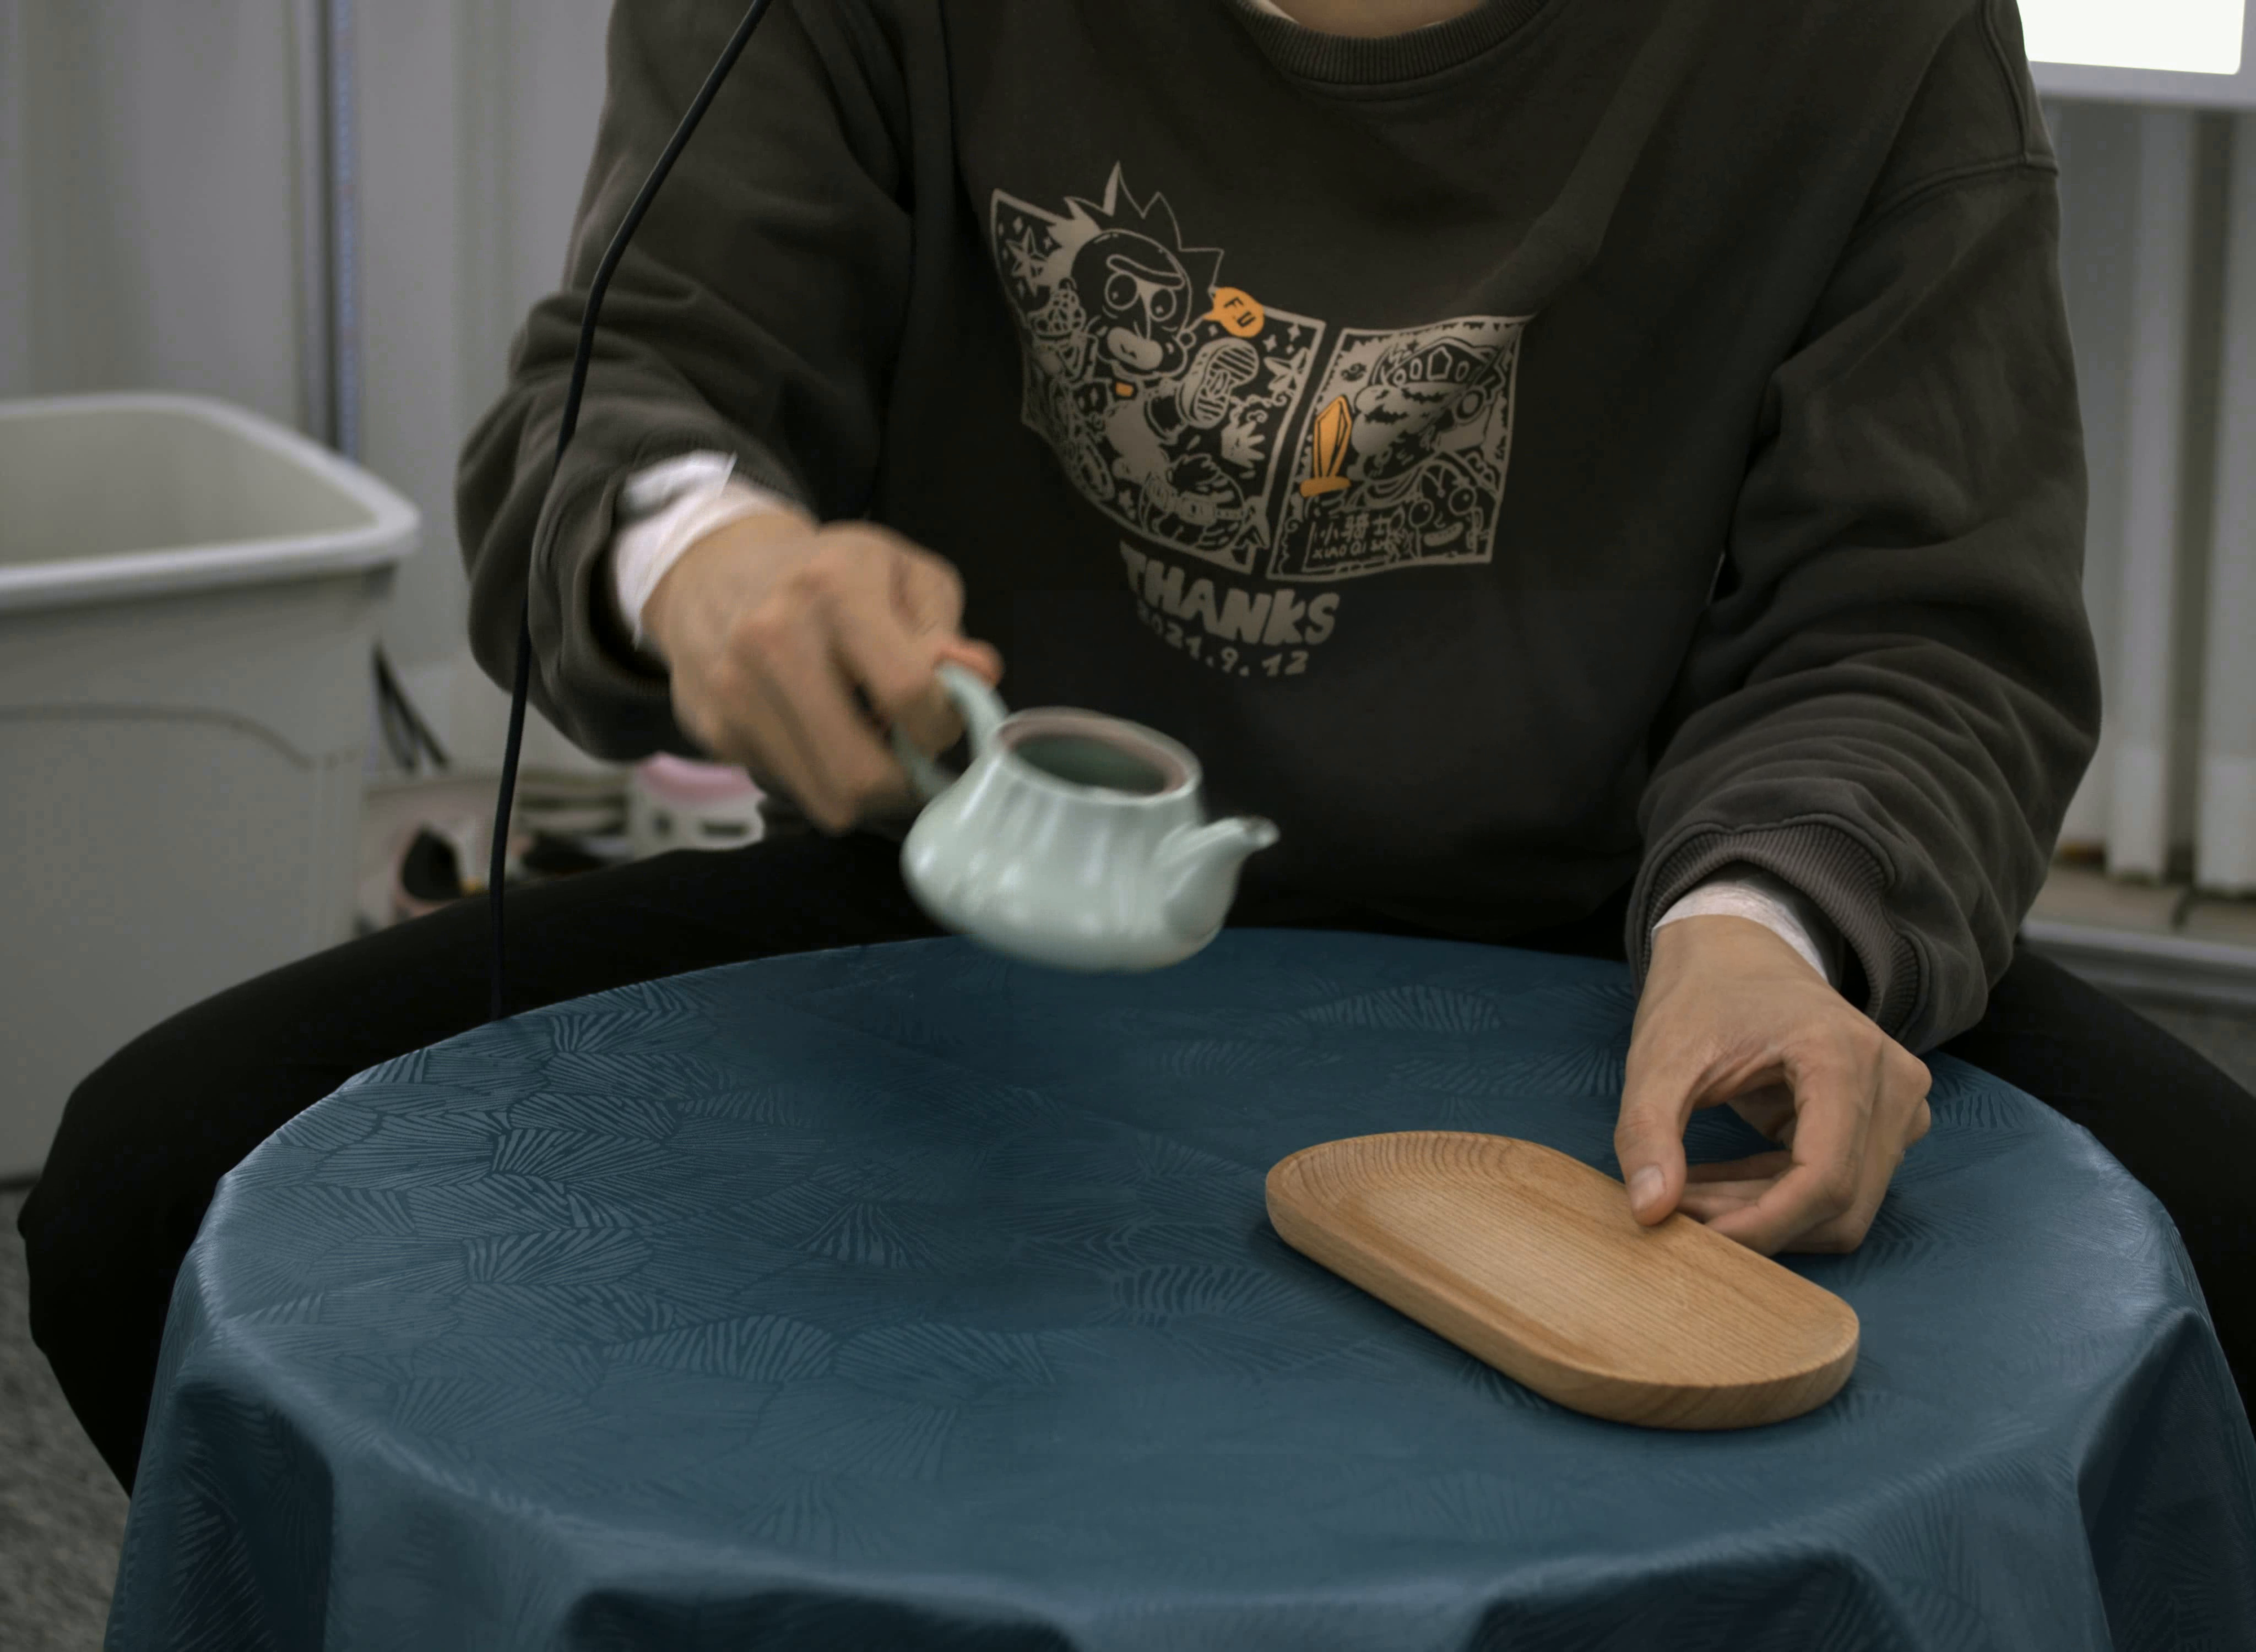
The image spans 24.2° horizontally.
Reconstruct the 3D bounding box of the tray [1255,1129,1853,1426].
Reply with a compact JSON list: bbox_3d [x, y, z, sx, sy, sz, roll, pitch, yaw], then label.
[{"bbox_3d":[0.121,0.130,1.541,0.102,0.020,0.228,-8,16,-29],"label":"tray"}]

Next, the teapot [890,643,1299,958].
[{"bbox_3d":[-0.015,-0.004,1.536,0.135,0.062,0.096,28,28,23],"label":"teapot"}]
